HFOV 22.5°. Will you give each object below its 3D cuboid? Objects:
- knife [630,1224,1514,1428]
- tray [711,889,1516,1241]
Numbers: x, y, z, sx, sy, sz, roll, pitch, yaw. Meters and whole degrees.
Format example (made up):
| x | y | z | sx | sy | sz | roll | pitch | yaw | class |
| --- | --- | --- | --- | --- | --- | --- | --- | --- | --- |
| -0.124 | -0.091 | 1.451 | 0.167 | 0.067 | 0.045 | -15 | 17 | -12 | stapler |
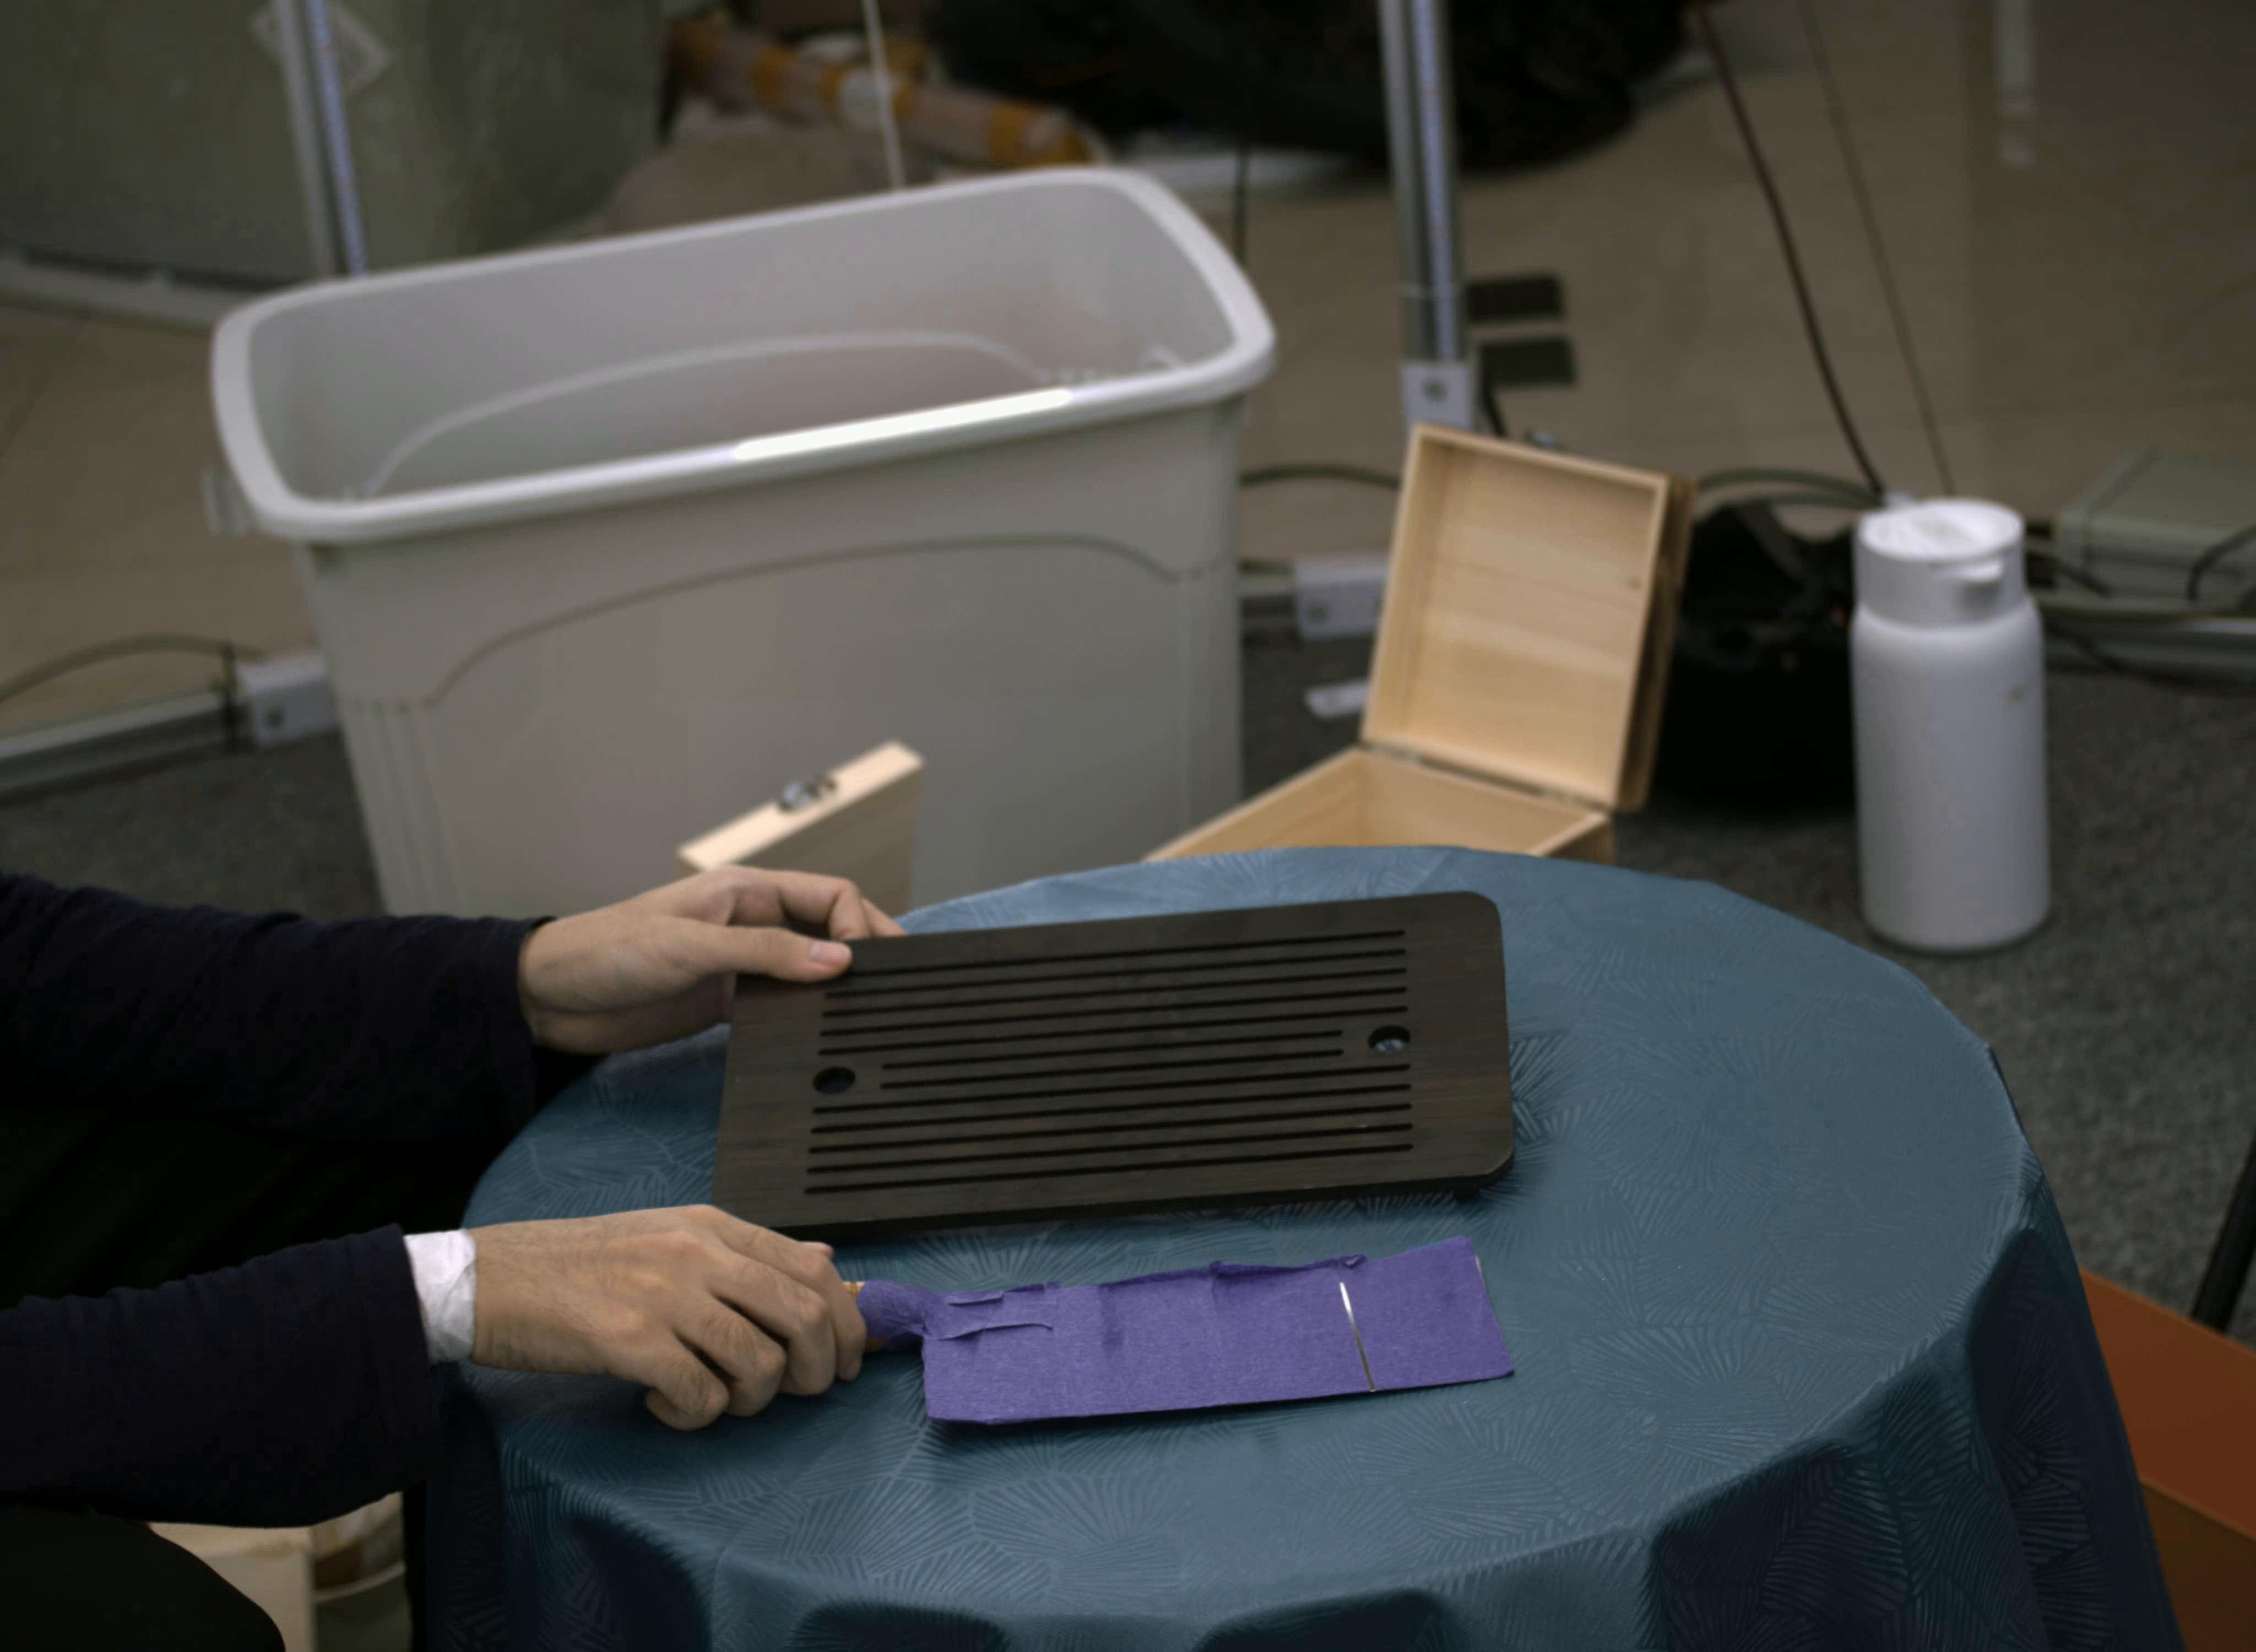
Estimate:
| x | y | z | sx | sy | sz | roll | pitch | yaw | class |
| --- | --- | --- | --- | --- | --- | --- | --- | --- | --- |
| -0.022 | 0.183 | 2.031 | 0.315 | 0.033 | 0.102 | -7 | 24 | -2 | knife |
| -0.005 | 0.093 | 2.189 | 0.305 | 0.019 | 0.167 | -5 | 38 | 5 | tray |
